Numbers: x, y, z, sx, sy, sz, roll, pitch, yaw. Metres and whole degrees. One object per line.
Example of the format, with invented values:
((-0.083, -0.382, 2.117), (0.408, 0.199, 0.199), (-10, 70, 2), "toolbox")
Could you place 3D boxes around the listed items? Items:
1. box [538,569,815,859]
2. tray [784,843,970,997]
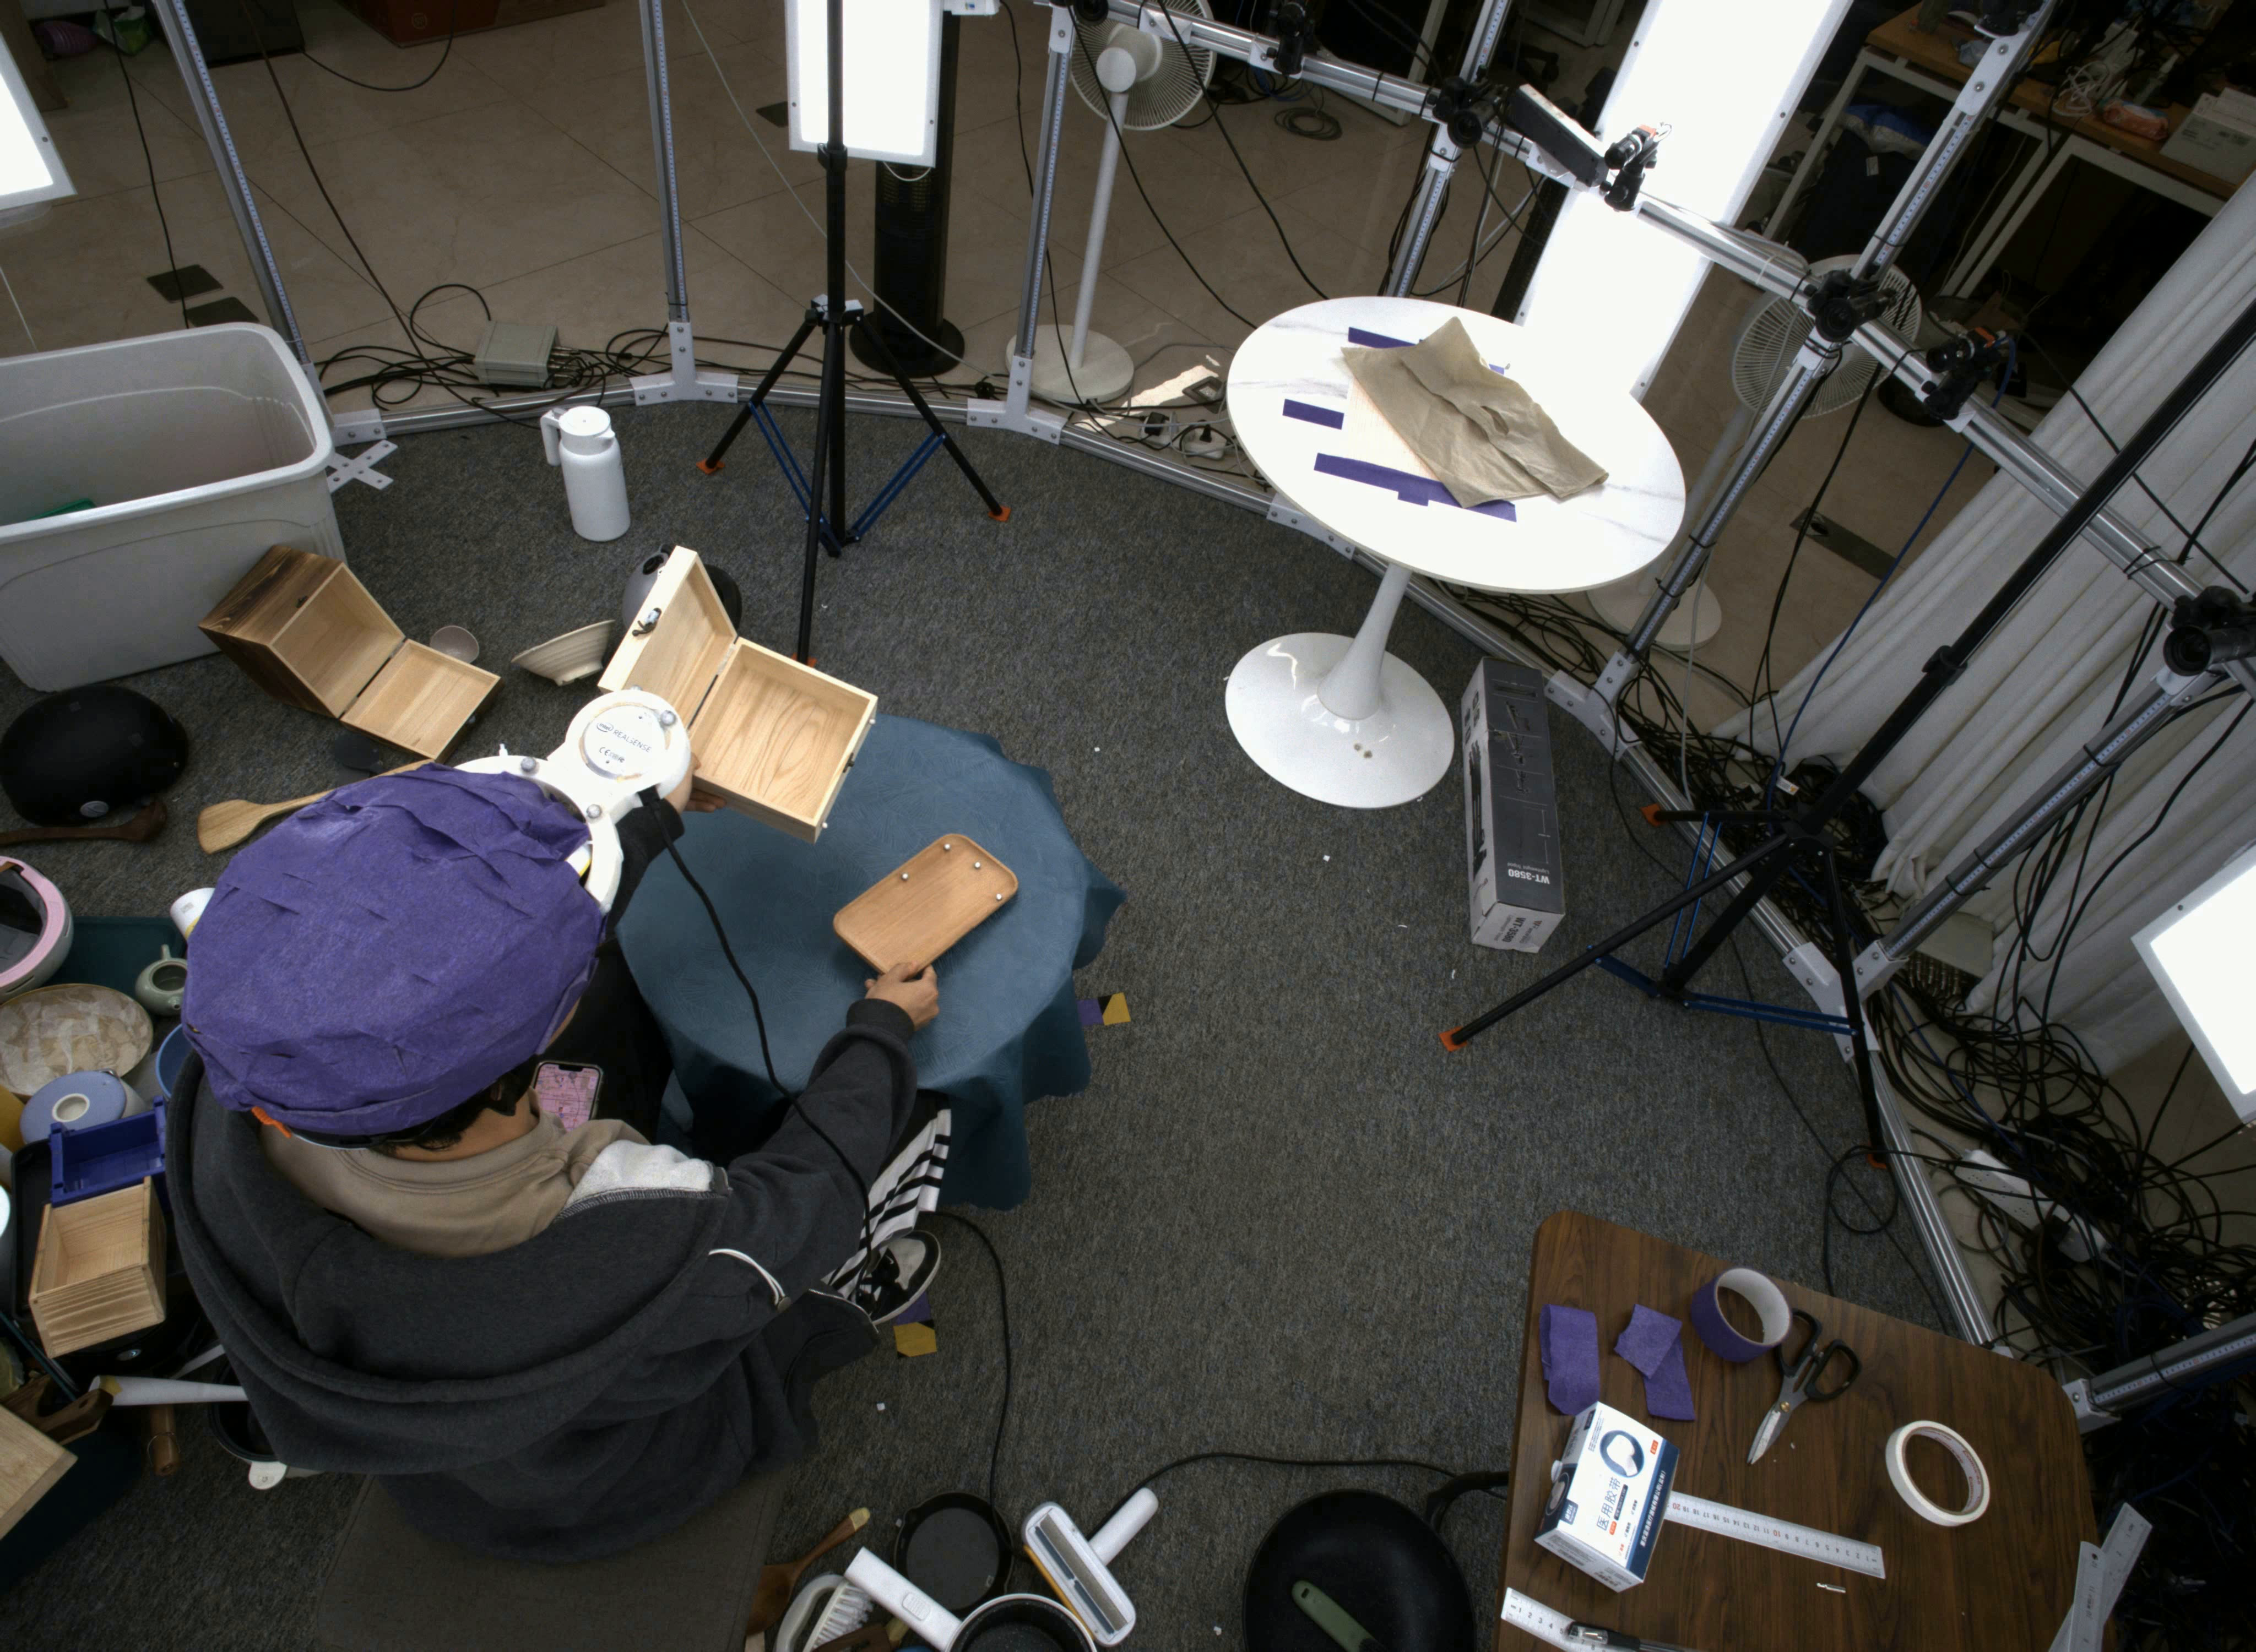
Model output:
((-0.499, -0.120, 1.428), (0.266, 0.253, 0.181), (19, 71, -9), "box")
((-0.311, 0.114, 1.635), (0.128, 0.023, 0.250), (34, 44, 12), "tray")
